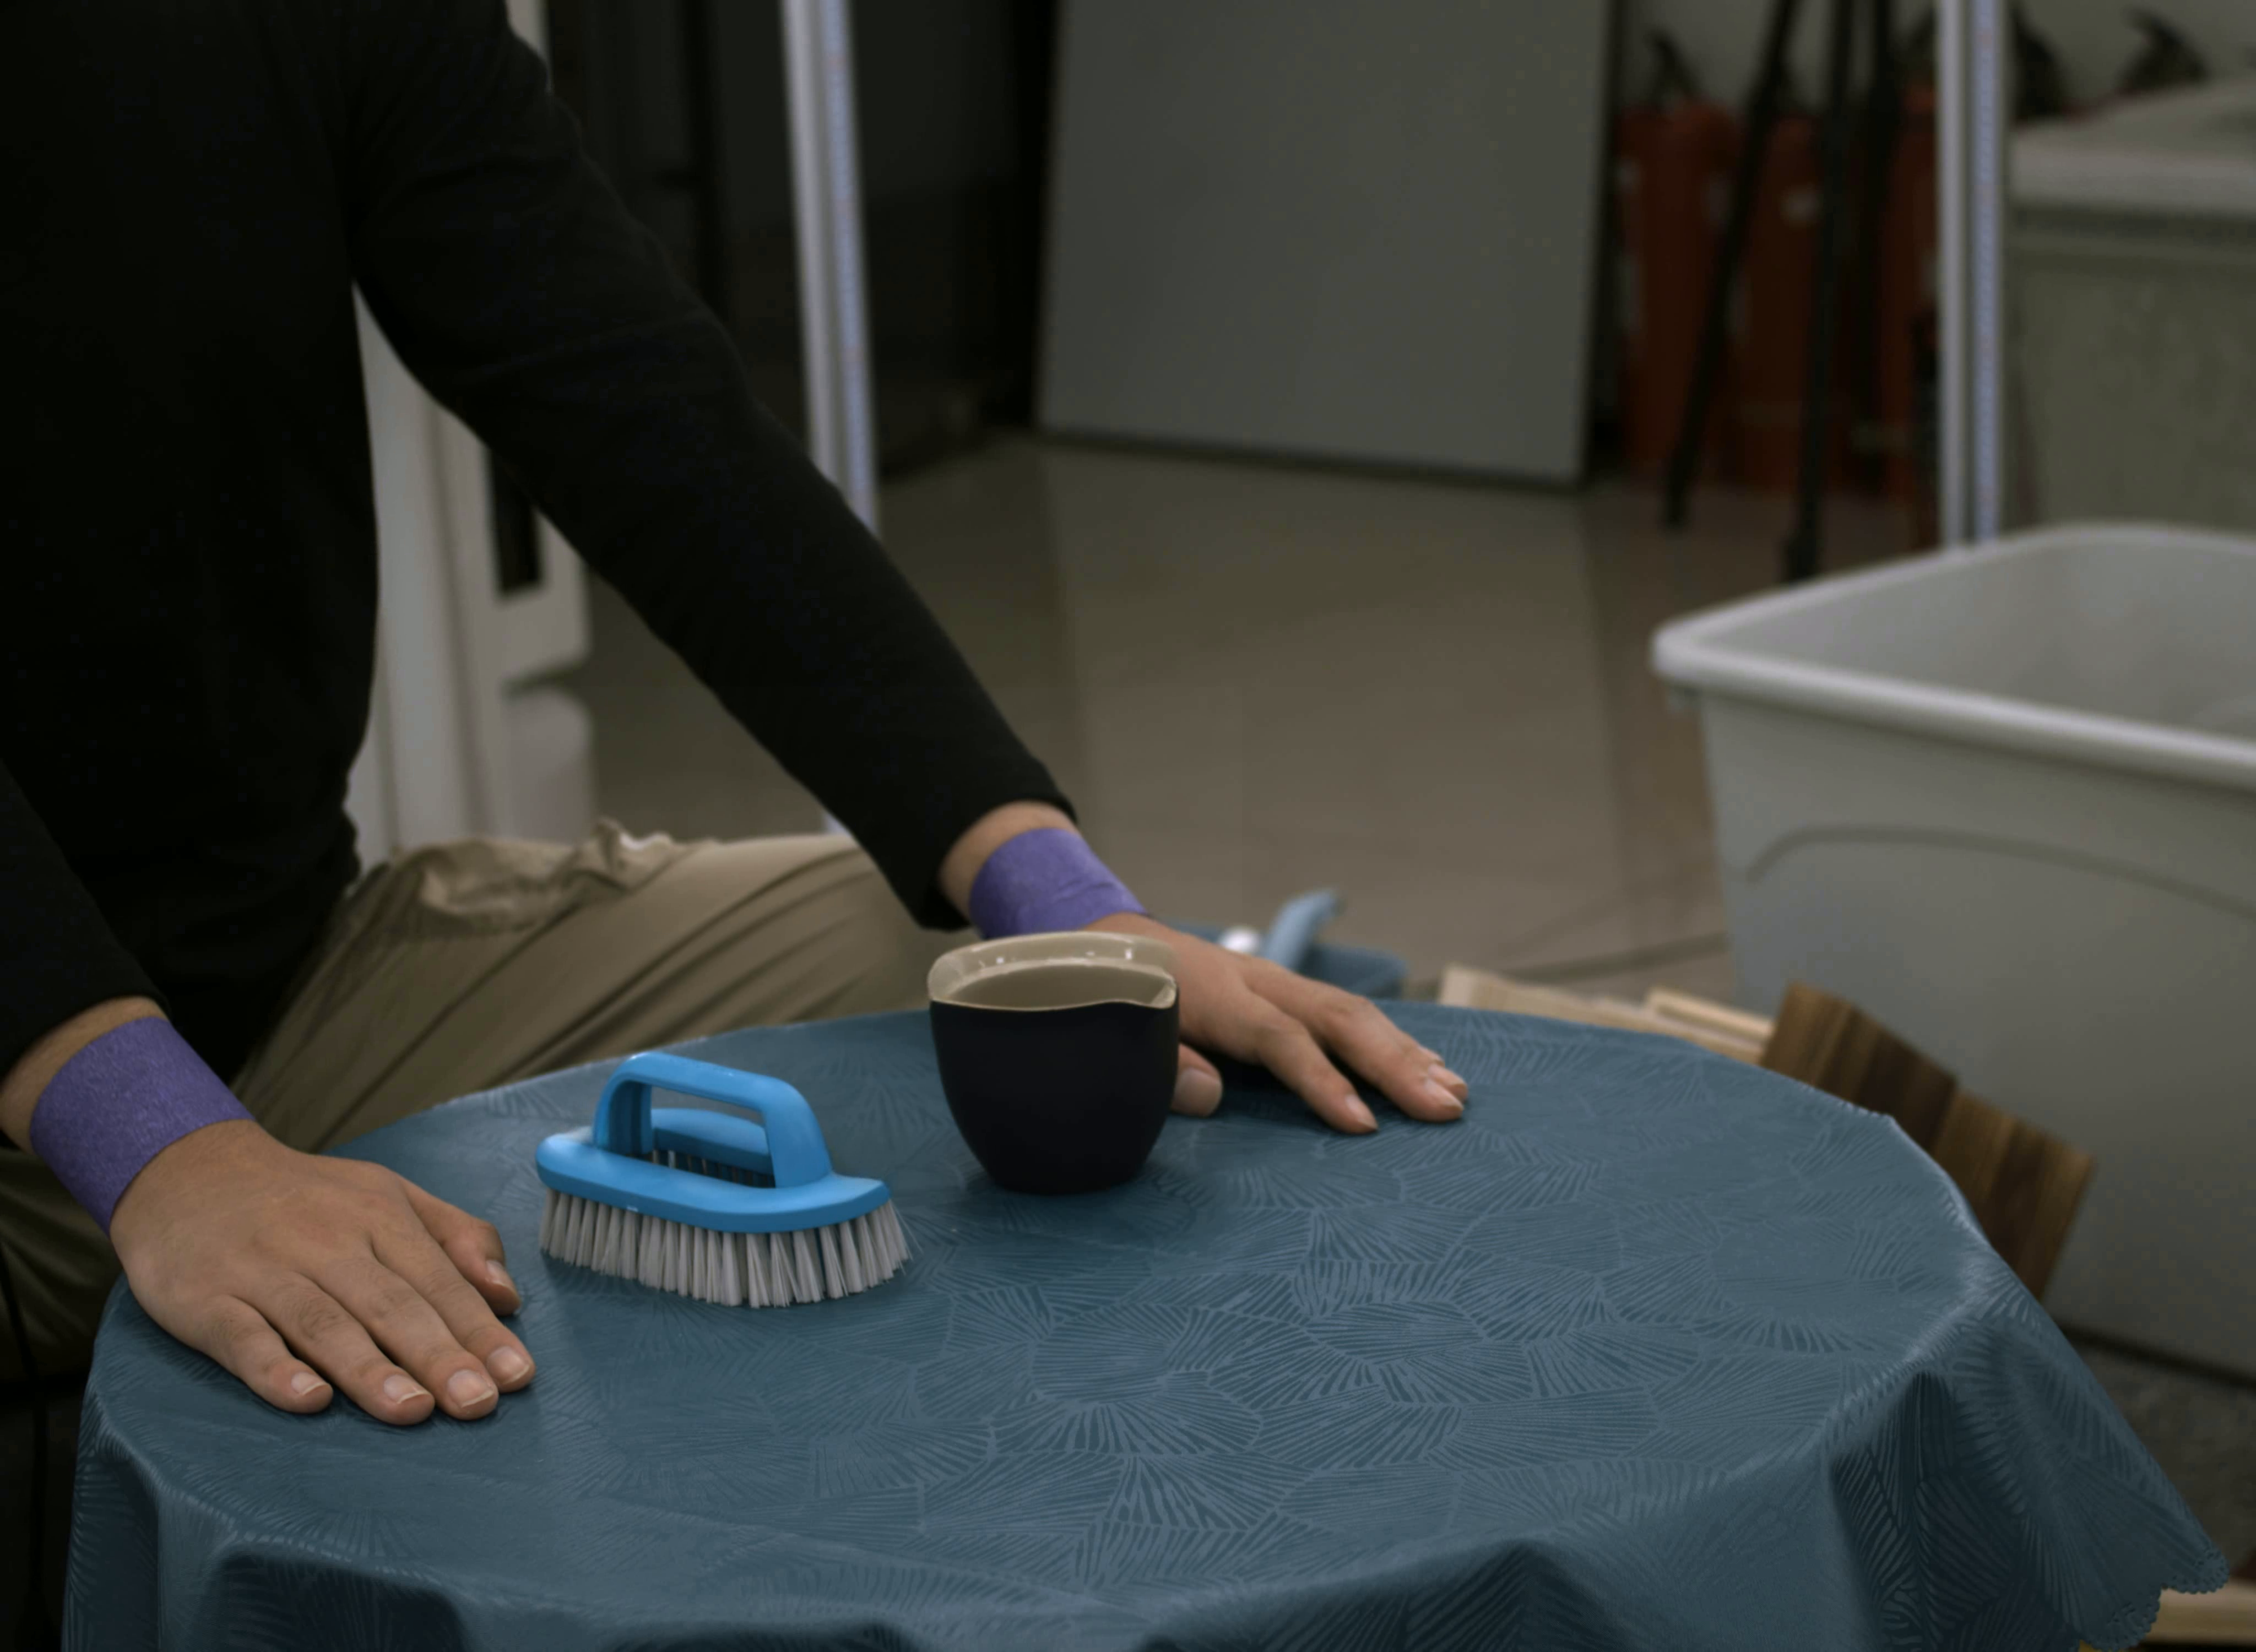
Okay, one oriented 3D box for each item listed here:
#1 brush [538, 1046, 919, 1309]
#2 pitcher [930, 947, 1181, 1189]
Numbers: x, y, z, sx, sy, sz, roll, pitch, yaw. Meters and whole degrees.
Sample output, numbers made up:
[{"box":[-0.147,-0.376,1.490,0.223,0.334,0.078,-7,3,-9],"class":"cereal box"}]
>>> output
[{"box":[-0.132,0.105,1.731,0.143,0.064,0.083,8,22,45],"class":"brush"},{"box":[-0.020,0.080,1.785,0.082,0.072,0.097,-12,17,-35],"class":"pitcher"}]
